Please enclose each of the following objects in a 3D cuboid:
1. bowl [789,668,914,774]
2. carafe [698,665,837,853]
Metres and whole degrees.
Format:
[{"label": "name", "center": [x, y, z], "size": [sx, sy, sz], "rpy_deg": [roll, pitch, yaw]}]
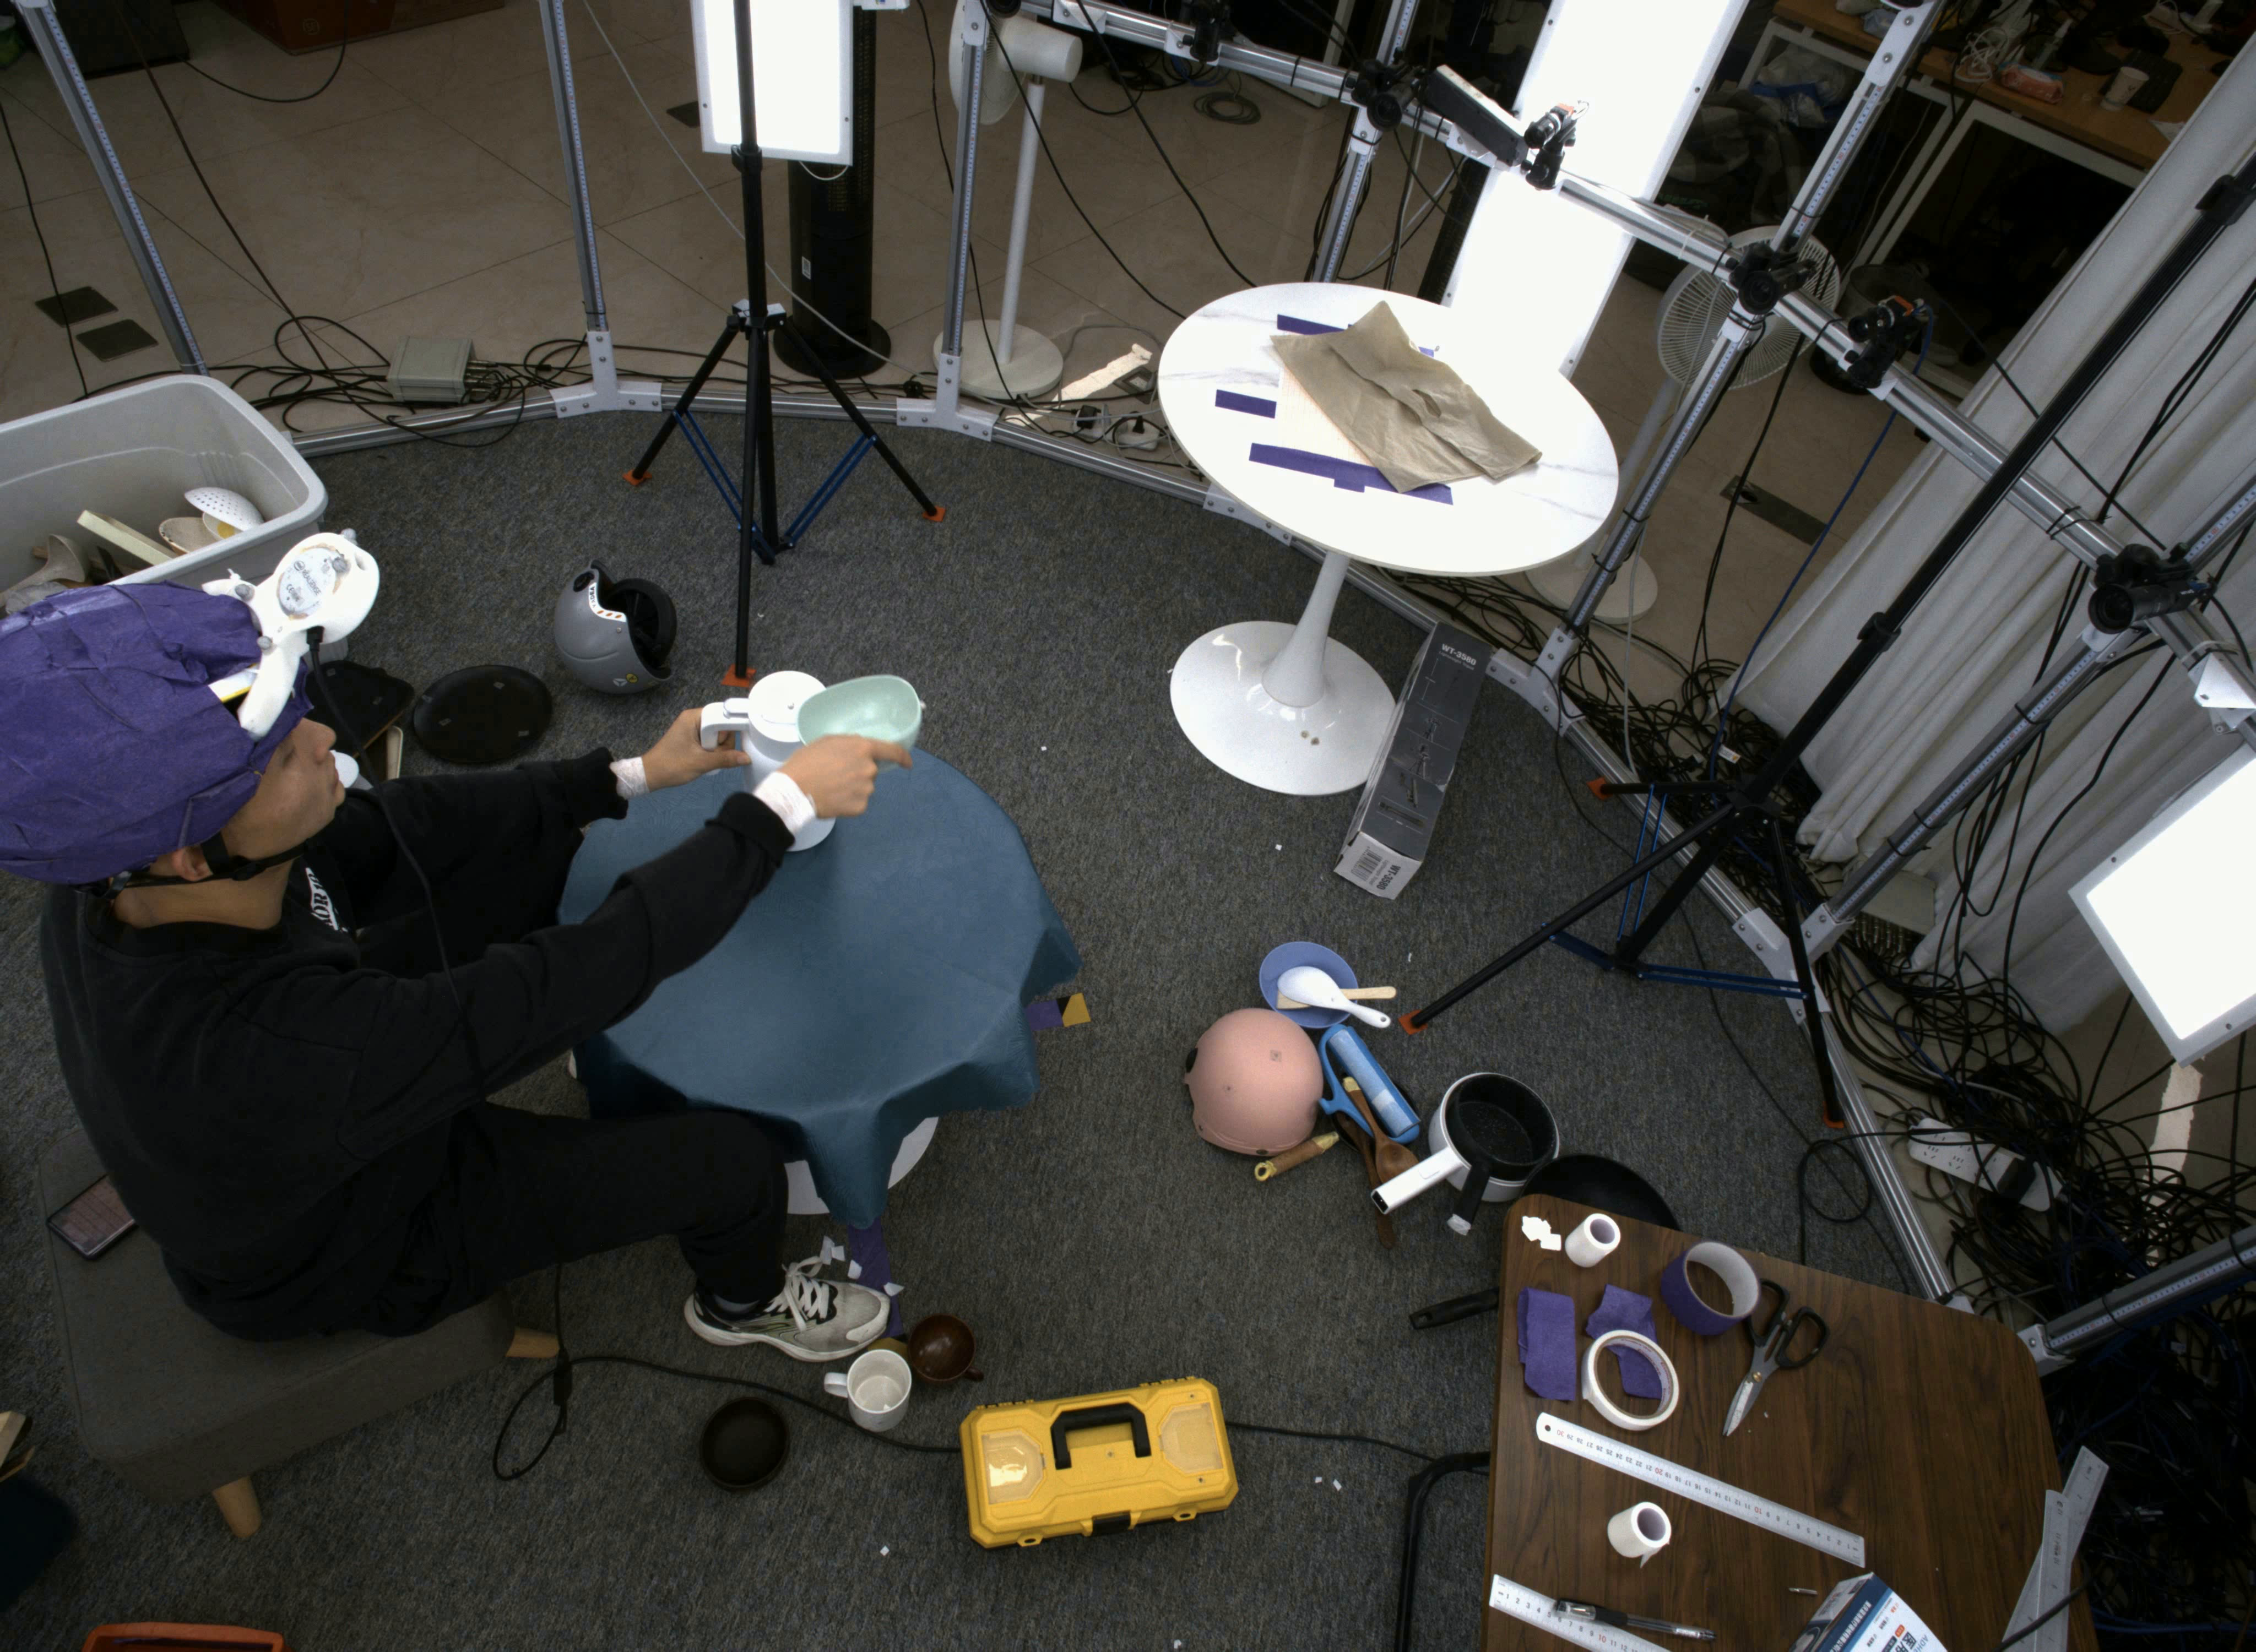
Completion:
[{"label": "bowl", "center": [-0.300, -0.110, 1.440], "size": [0.149, 0.061, 0.148], "rpy_deg": [-4, 40, 5]}, {"label": "carafe", "center": [-0.437, -0.078, 1.597], "size": [0.173, 0.272, 0.122], "rpy_deg": [-3, 64, -15]}]
